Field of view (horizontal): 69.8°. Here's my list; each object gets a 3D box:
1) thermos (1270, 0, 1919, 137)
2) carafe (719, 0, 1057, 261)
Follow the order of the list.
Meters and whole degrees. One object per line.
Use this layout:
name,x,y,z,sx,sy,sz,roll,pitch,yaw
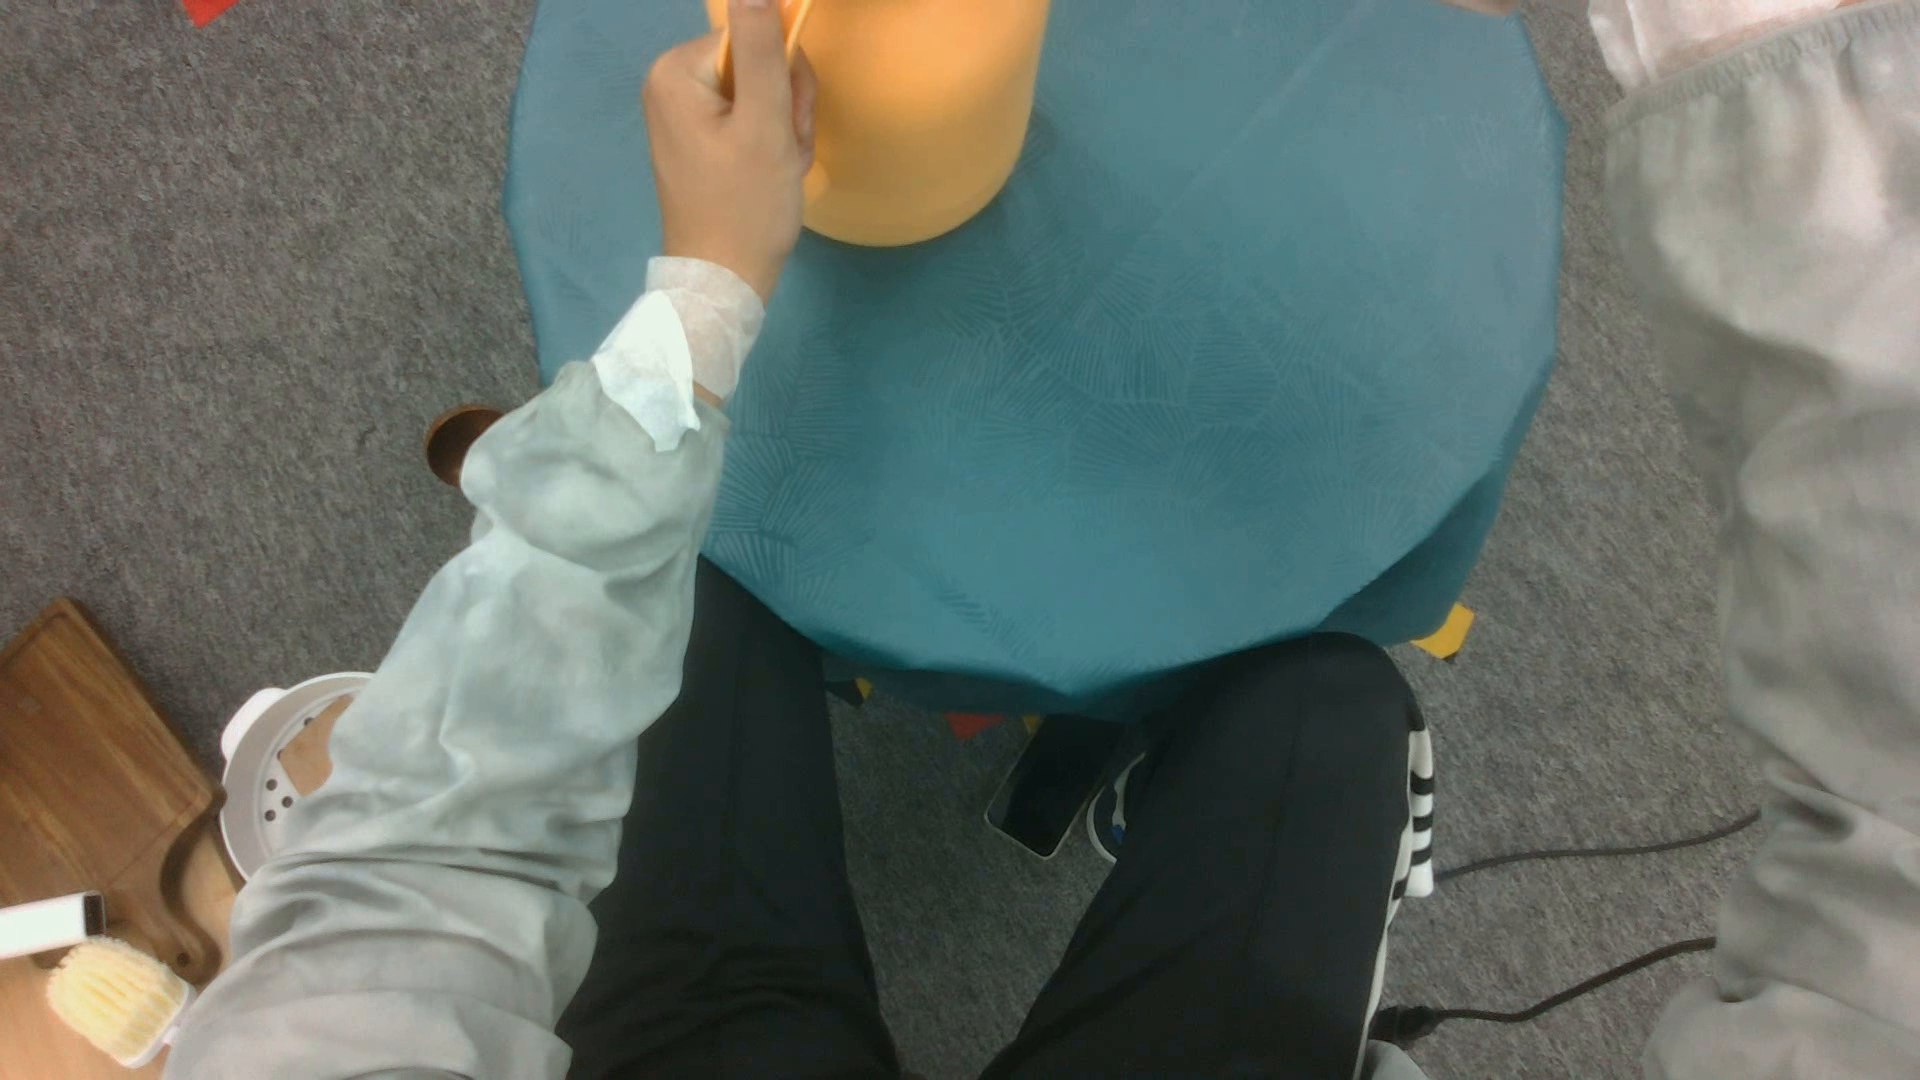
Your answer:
thermos,0.189,-0.248,0.441,0.406,0.207,0.175,11,106,-8
carafe,-0.045,-0.238,0.663,0.163,0.260,0.203,28,76,5
